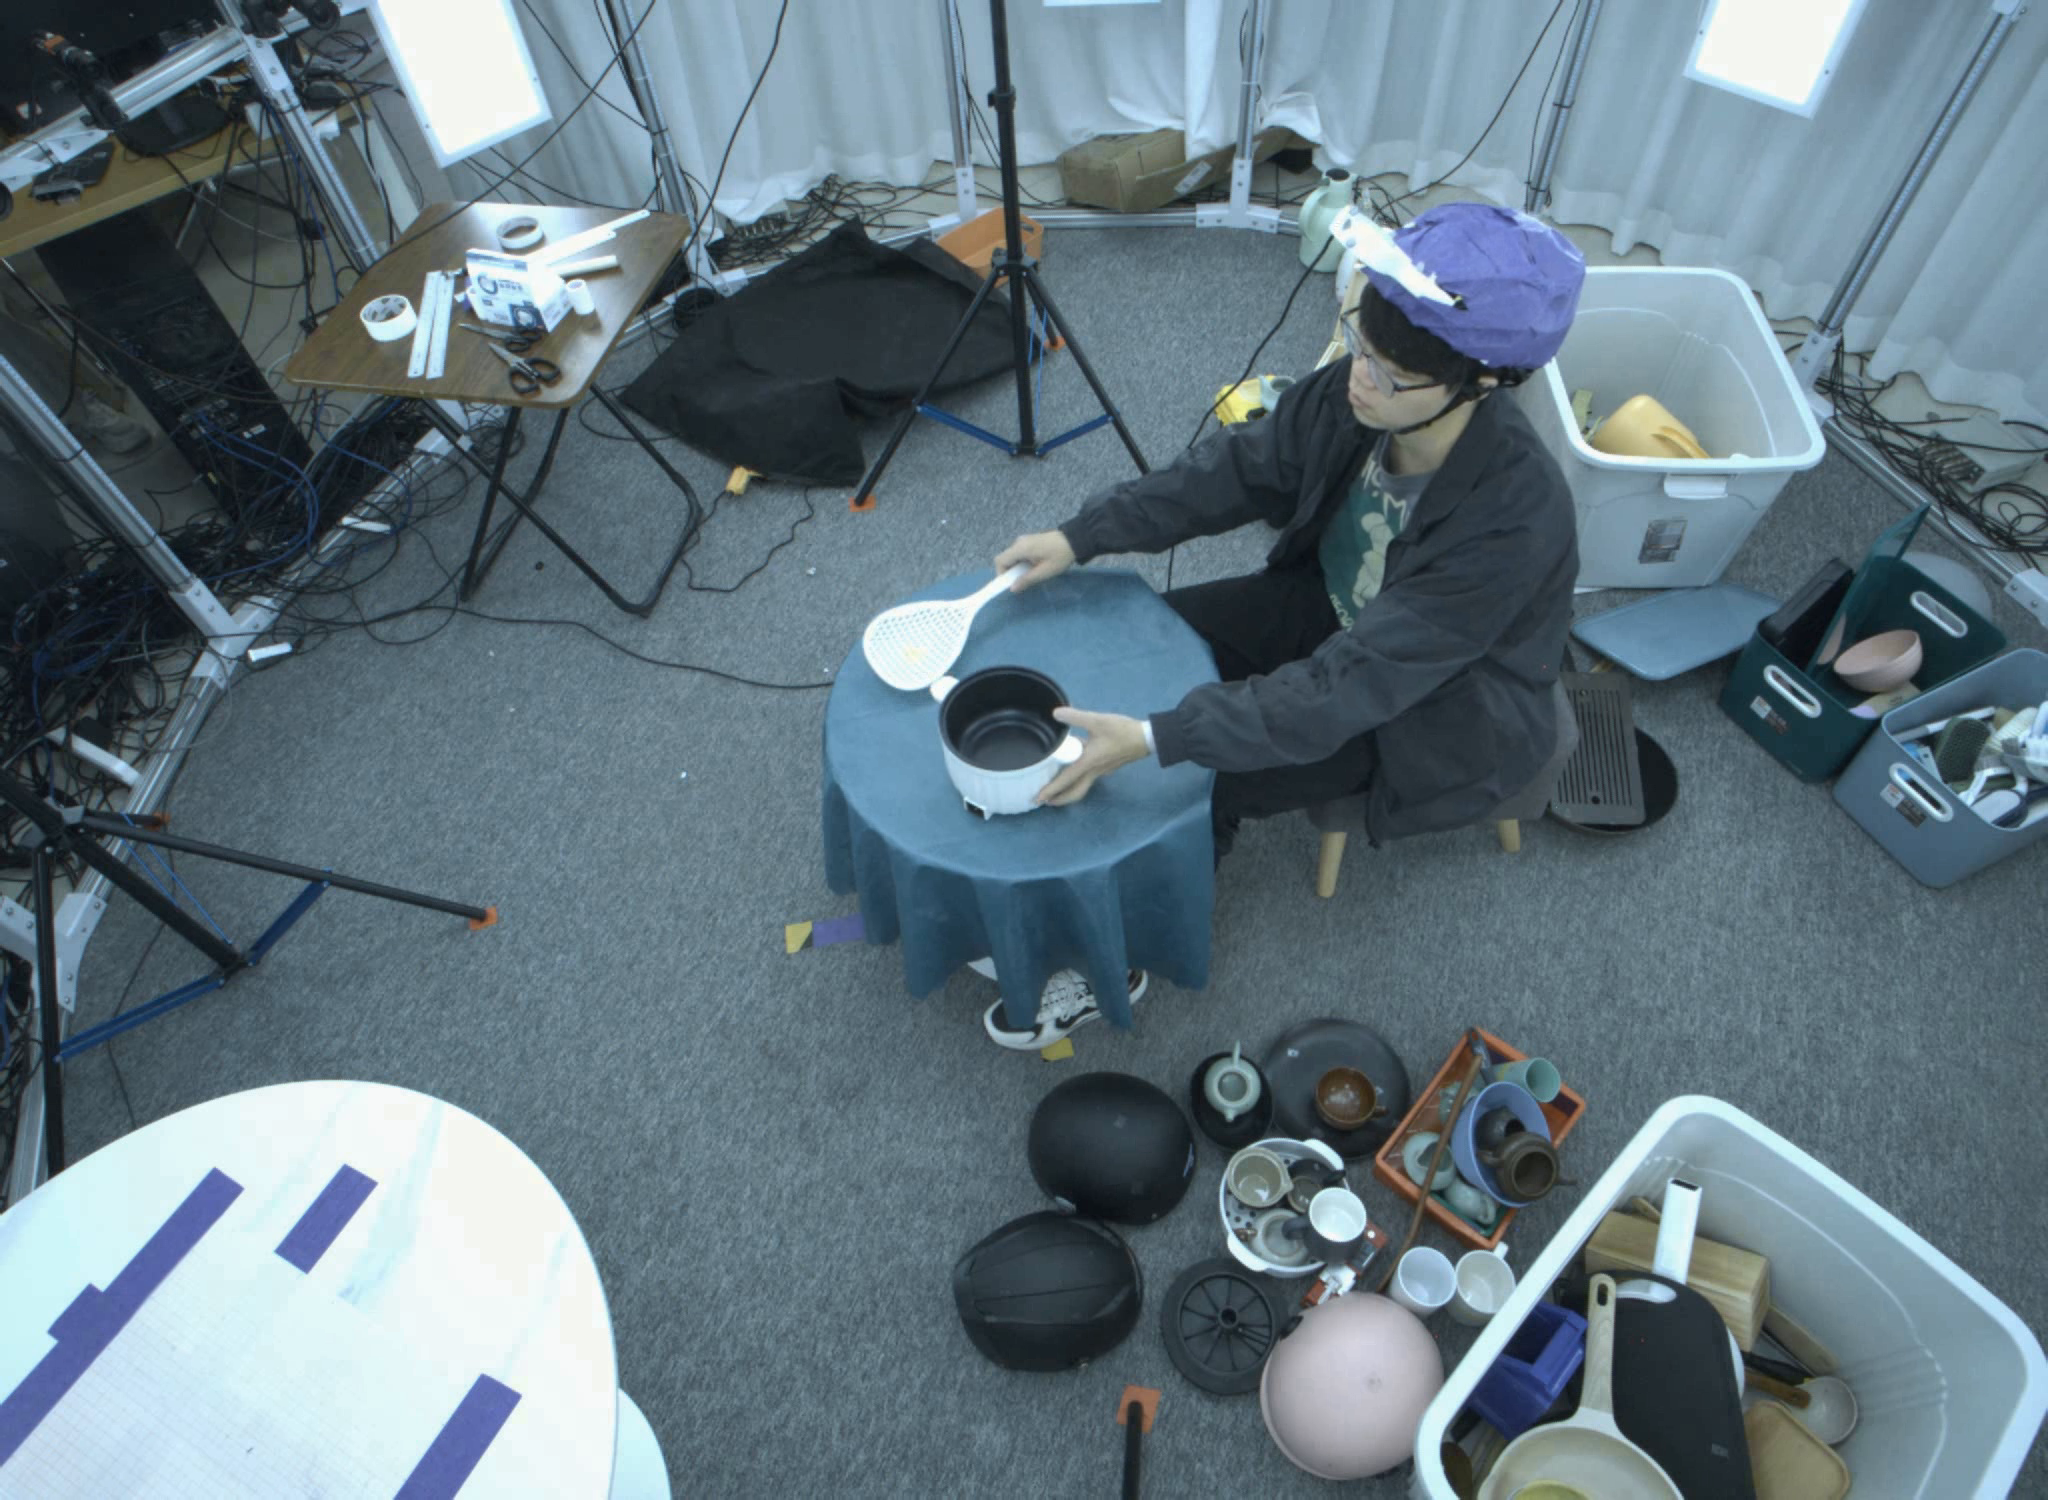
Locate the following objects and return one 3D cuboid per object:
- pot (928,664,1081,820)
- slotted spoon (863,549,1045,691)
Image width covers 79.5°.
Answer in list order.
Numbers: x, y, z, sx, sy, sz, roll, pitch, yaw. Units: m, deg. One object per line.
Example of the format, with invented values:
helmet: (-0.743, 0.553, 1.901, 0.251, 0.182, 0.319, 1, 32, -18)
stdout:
pot: (-0.022, -0.012, 1.702, 0.237, 0.144, 0.191, 27, 63, 19)
slotted spoon: (-0.091, -0.213, 1.883, 0.350, 0.050, 0.136, -39, 79, -17)
